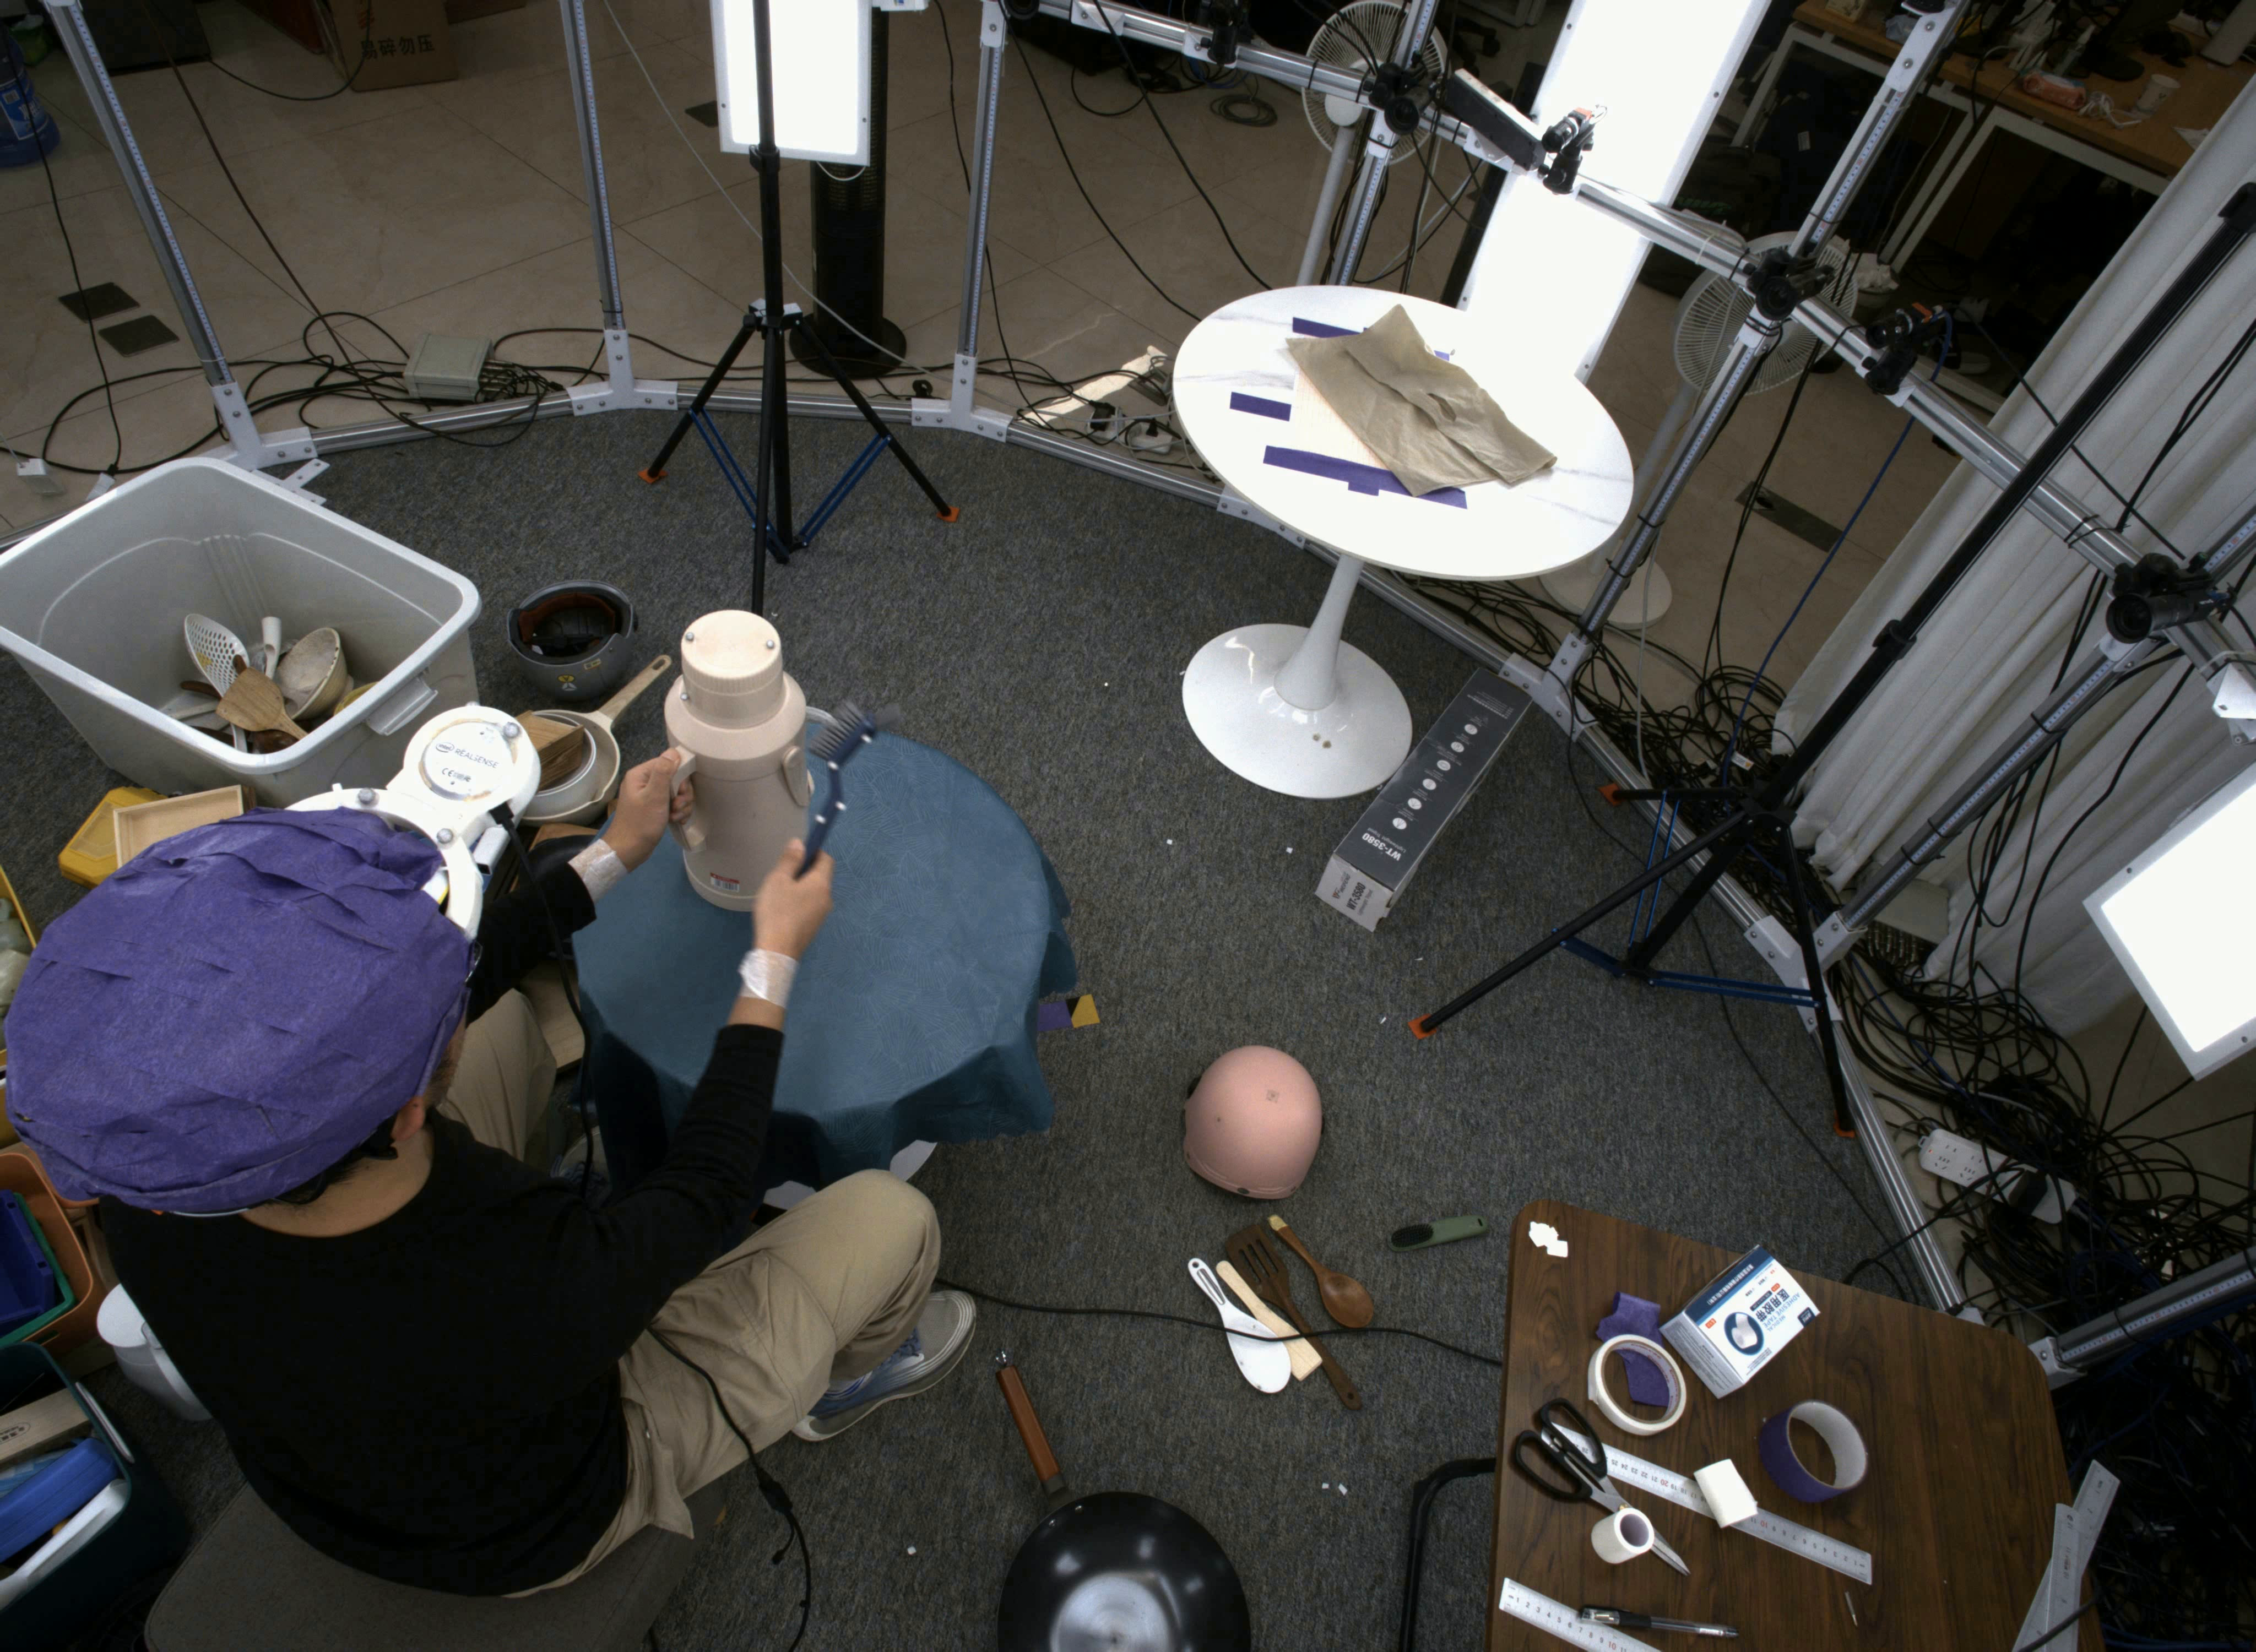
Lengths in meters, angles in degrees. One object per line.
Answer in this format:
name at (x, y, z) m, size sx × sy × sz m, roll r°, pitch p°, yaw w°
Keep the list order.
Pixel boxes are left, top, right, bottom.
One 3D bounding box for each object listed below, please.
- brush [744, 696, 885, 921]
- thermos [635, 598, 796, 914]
brush at (-0.339, -0.023, 1.389) m, size 0.095 × 0.034 × 0.271 m, roll 12°, pitch 66°, yaw -3°
thermos at (-0.484, -0.070, 1.498) m, size 0.172 × 0.414 × 0.206 m, roll 30°, pitch 52°, yaw 10°
